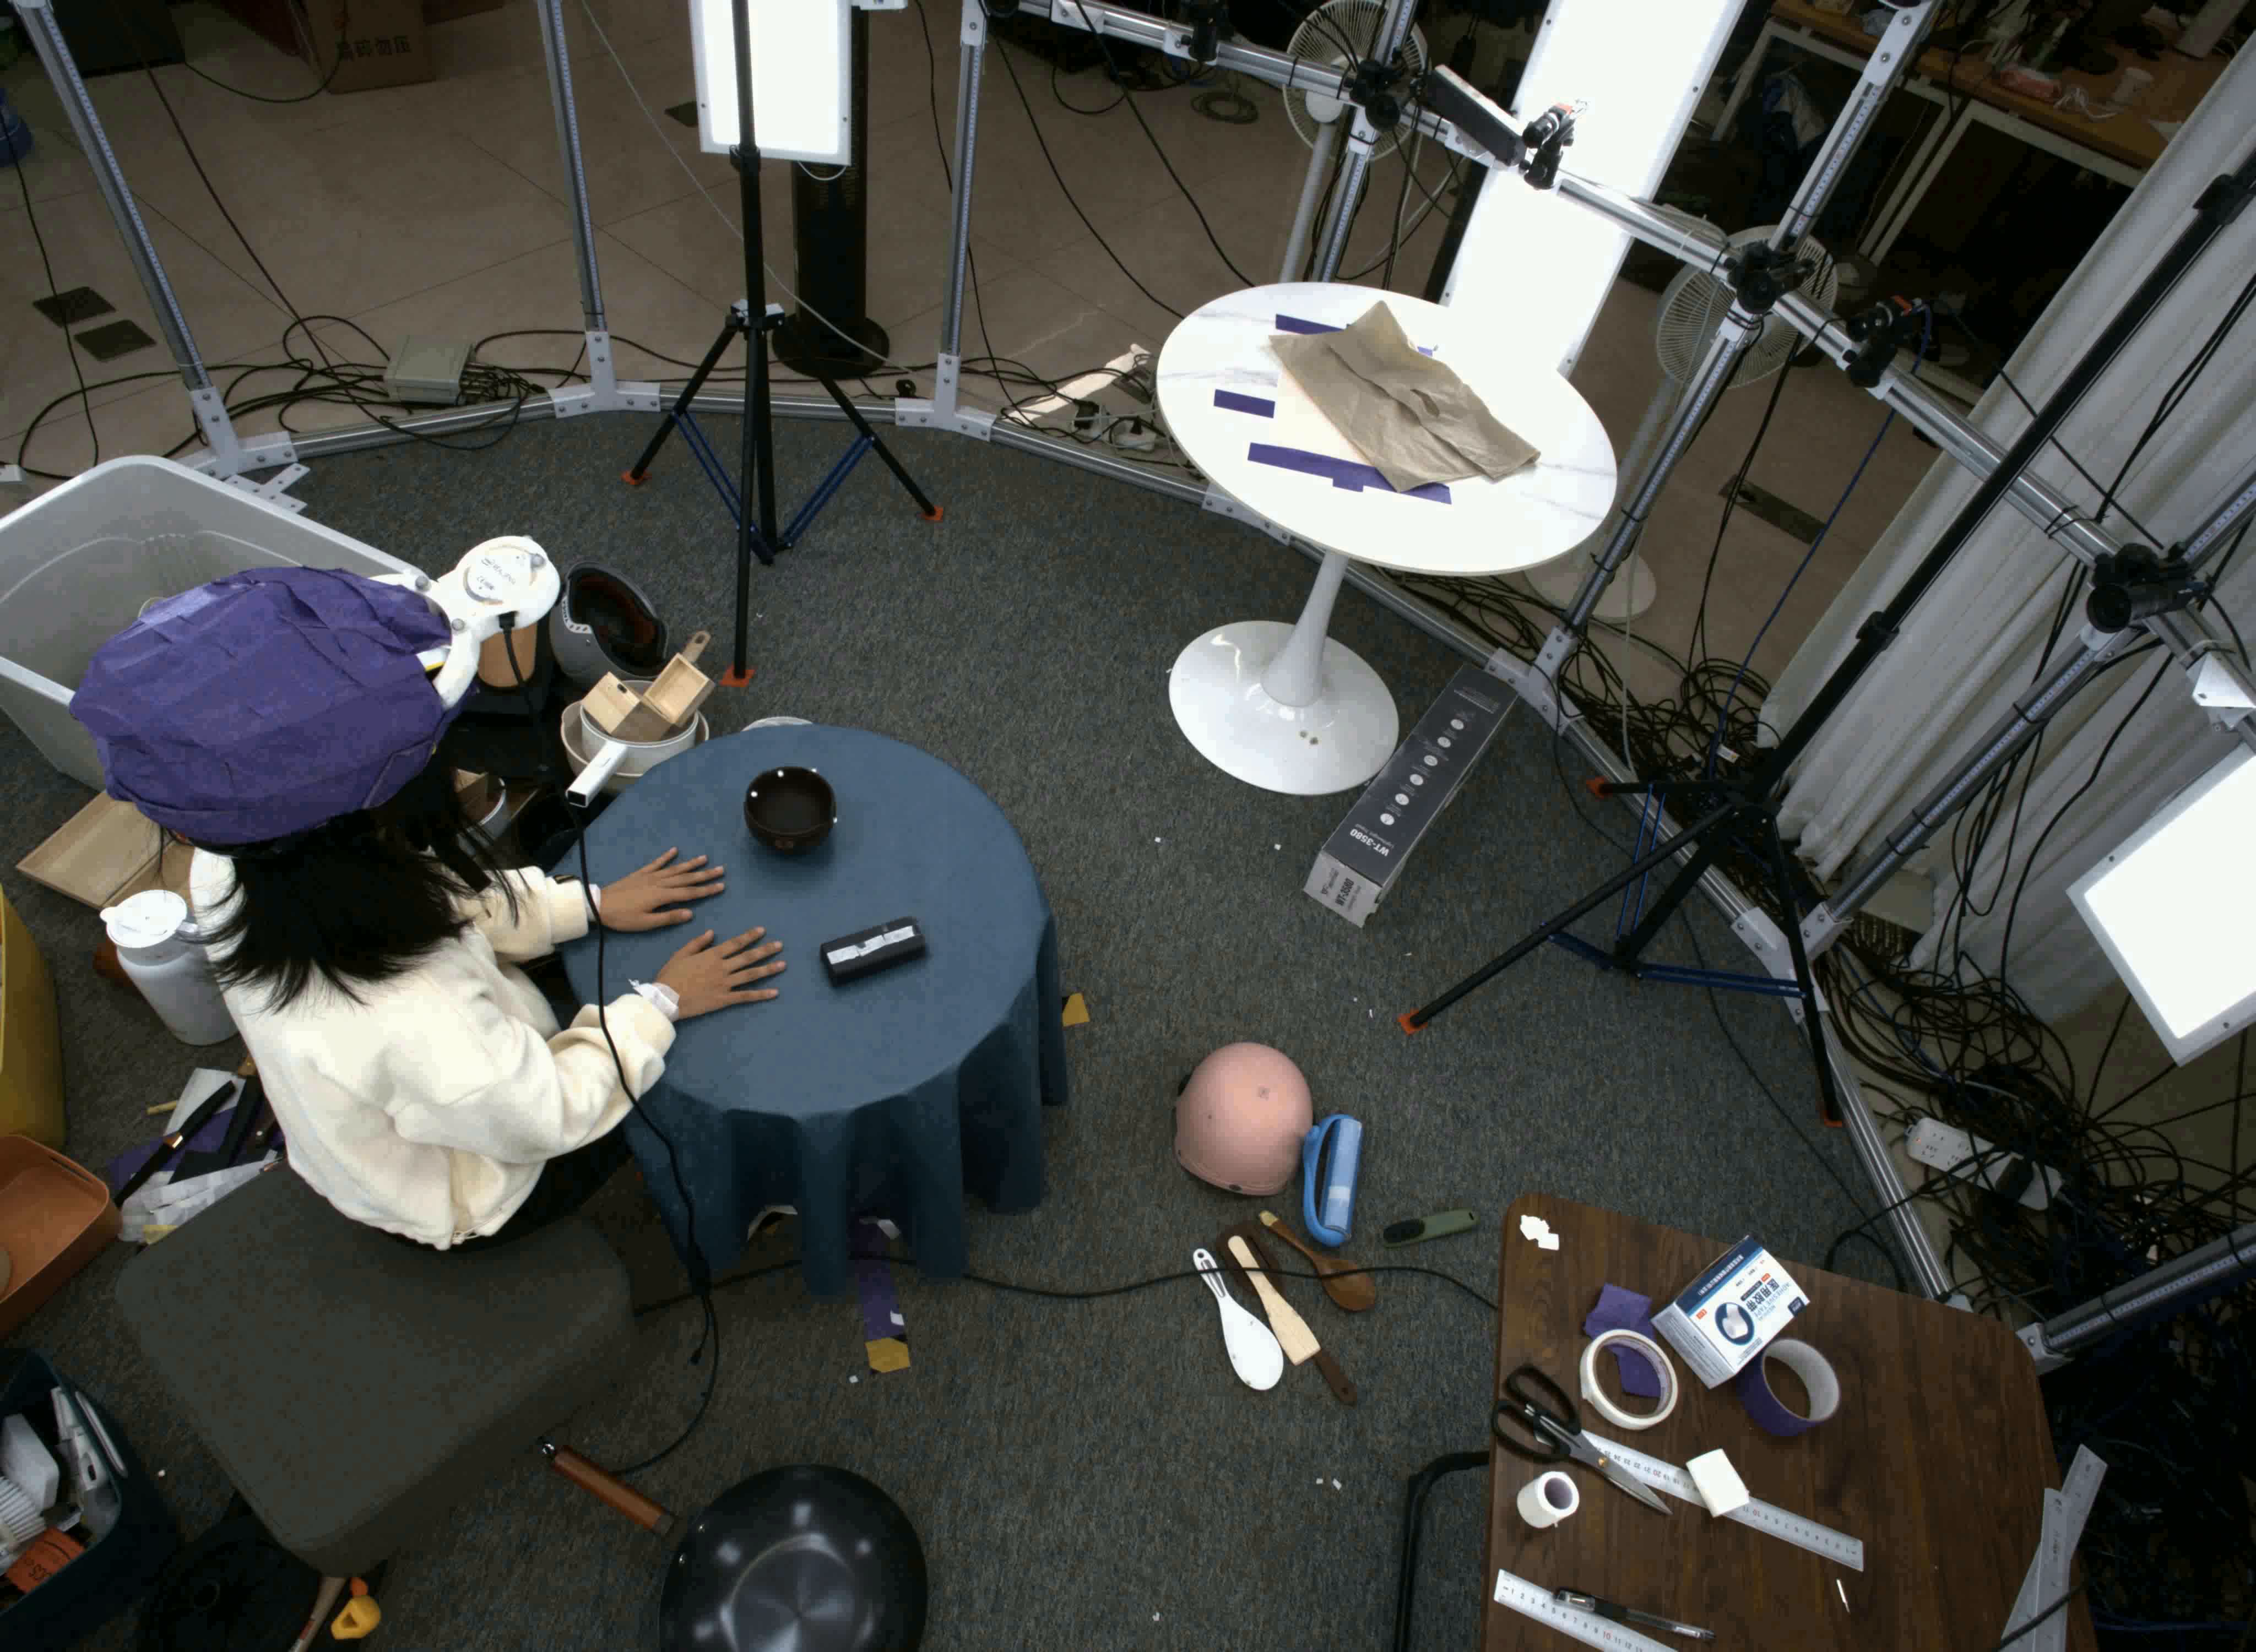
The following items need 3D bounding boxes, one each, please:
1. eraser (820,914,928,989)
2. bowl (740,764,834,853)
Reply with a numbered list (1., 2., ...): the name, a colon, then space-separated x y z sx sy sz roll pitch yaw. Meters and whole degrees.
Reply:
1. eraser: -0.315 0.152 1.616 0.126 0.031 0.052 -20 59 -25
2. bowl: -0.441 -0.015 1.679 0.118 0.071 0.116 7 53 -8
